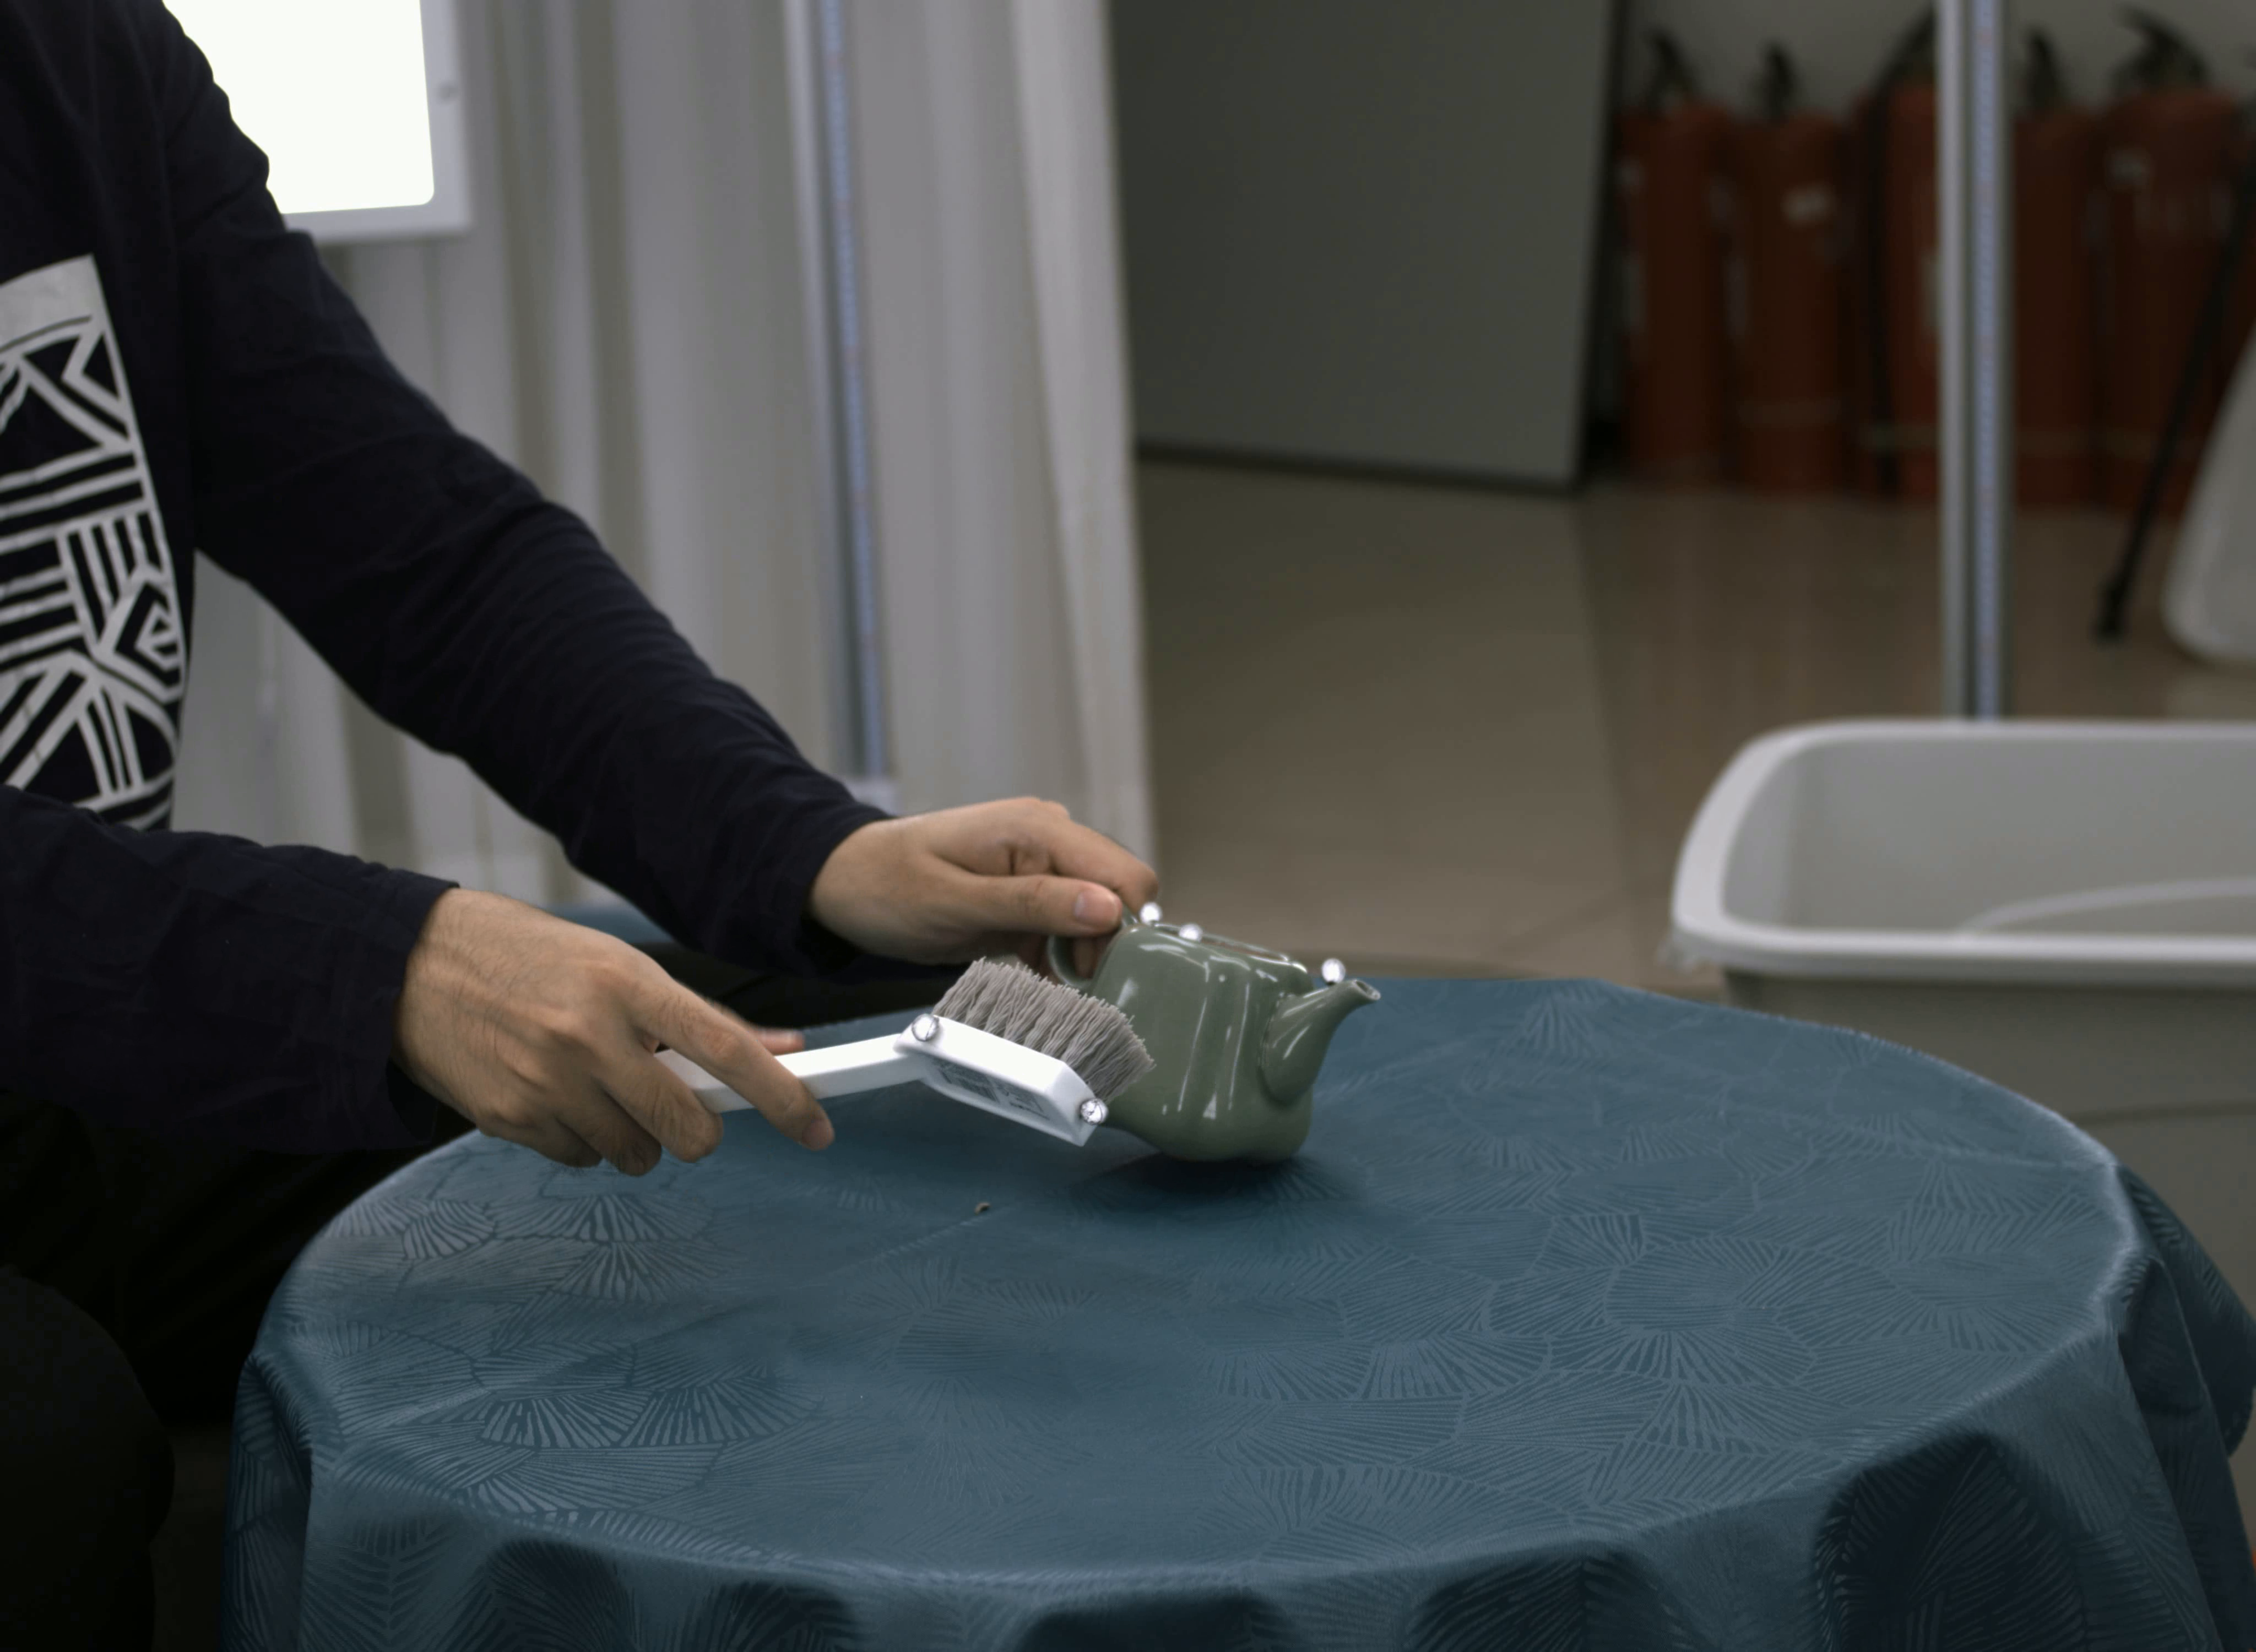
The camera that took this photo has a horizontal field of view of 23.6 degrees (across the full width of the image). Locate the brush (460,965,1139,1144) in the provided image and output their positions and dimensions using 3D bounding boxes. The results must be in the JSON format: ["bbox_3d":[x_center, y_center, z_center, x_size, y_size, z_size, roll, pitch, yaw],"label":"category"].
[{"bbox_3d":[-0.106,0.072,1.689,0.245,0.050,0.034,-3,-29,33],"label":"brush"}]

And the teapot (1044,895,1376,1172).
[{"bbox_3d":[0.021,0.071,1.786,0.133,0.076,0.078,16,3,36],"label":"teapot"}]
